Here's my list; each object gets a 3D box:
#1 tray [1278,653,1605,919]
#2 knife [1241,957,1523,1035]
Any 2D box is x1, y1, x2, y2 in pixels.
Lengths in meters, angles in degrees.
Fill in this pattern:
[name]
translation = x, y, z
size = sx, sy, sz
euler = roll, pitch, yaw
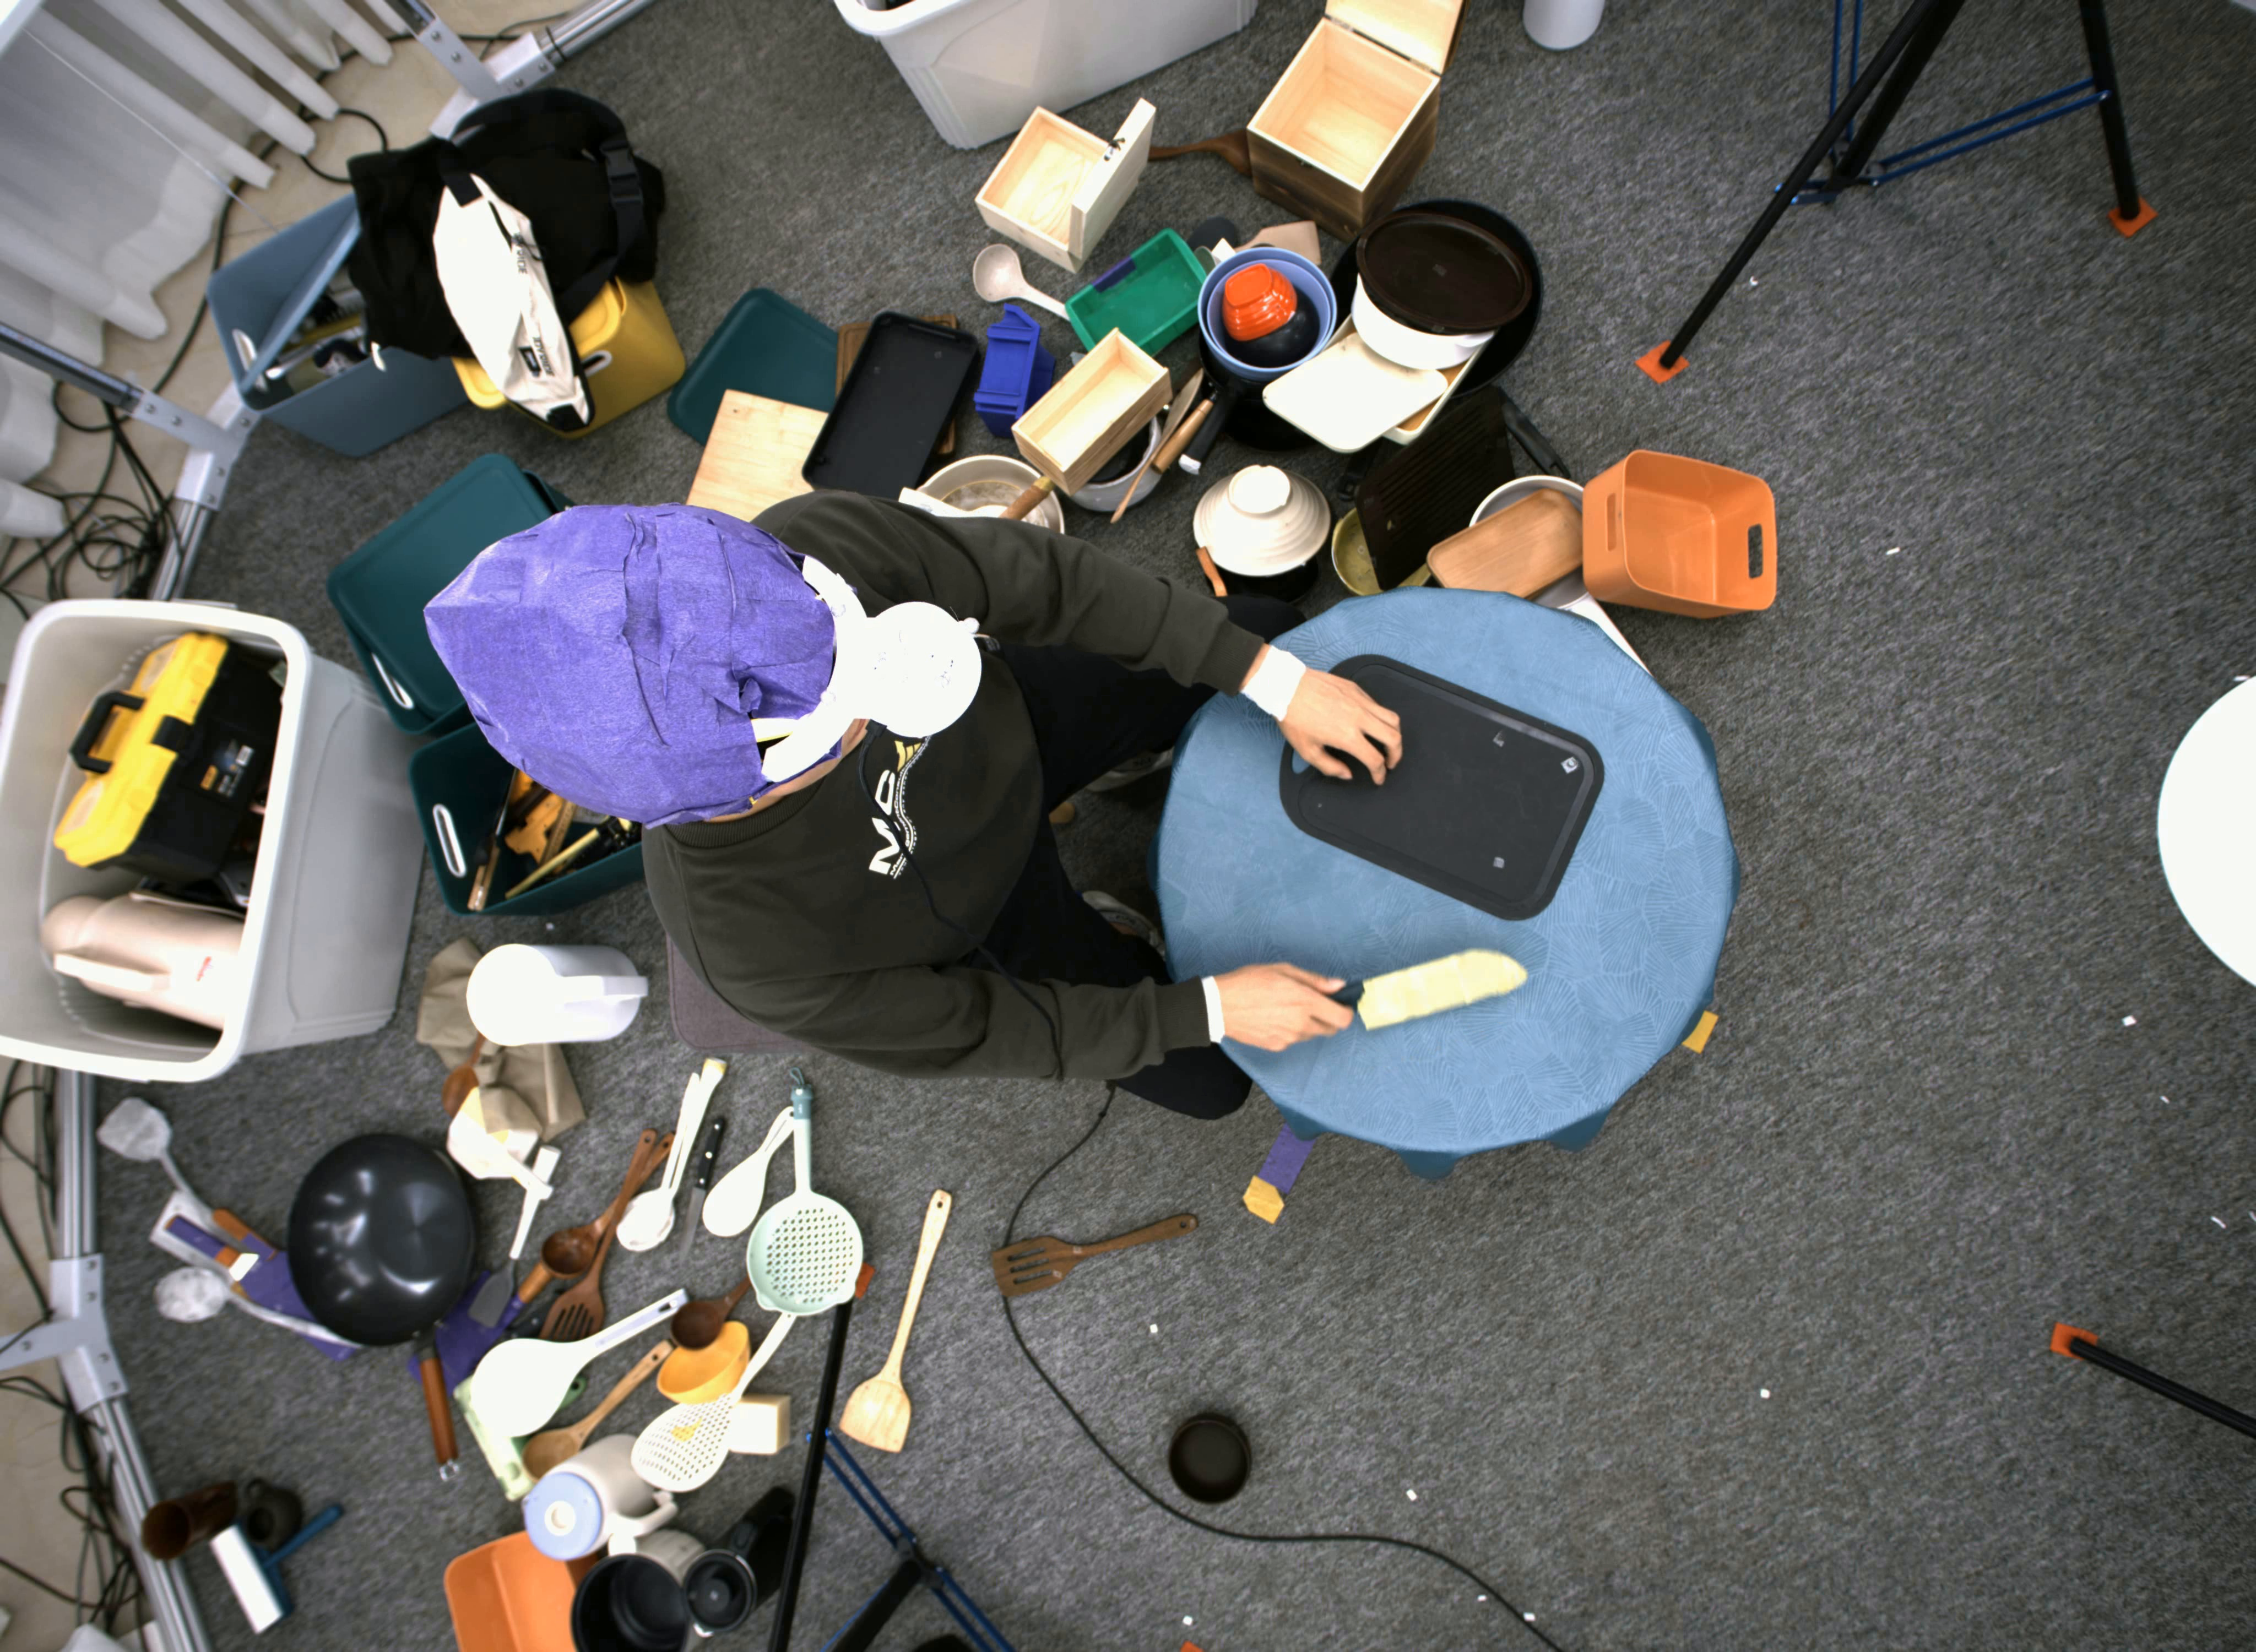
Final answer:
[tray]
translation = 0.322, -0.050, 1.453
size = 0.325, 0.010, 0.211
euler = 24, 91, 11
[knife]
translation = 0.259, 0.180, 1.413
size = 0.291, 0.082, 0.026
euler = -13, 39, 13
